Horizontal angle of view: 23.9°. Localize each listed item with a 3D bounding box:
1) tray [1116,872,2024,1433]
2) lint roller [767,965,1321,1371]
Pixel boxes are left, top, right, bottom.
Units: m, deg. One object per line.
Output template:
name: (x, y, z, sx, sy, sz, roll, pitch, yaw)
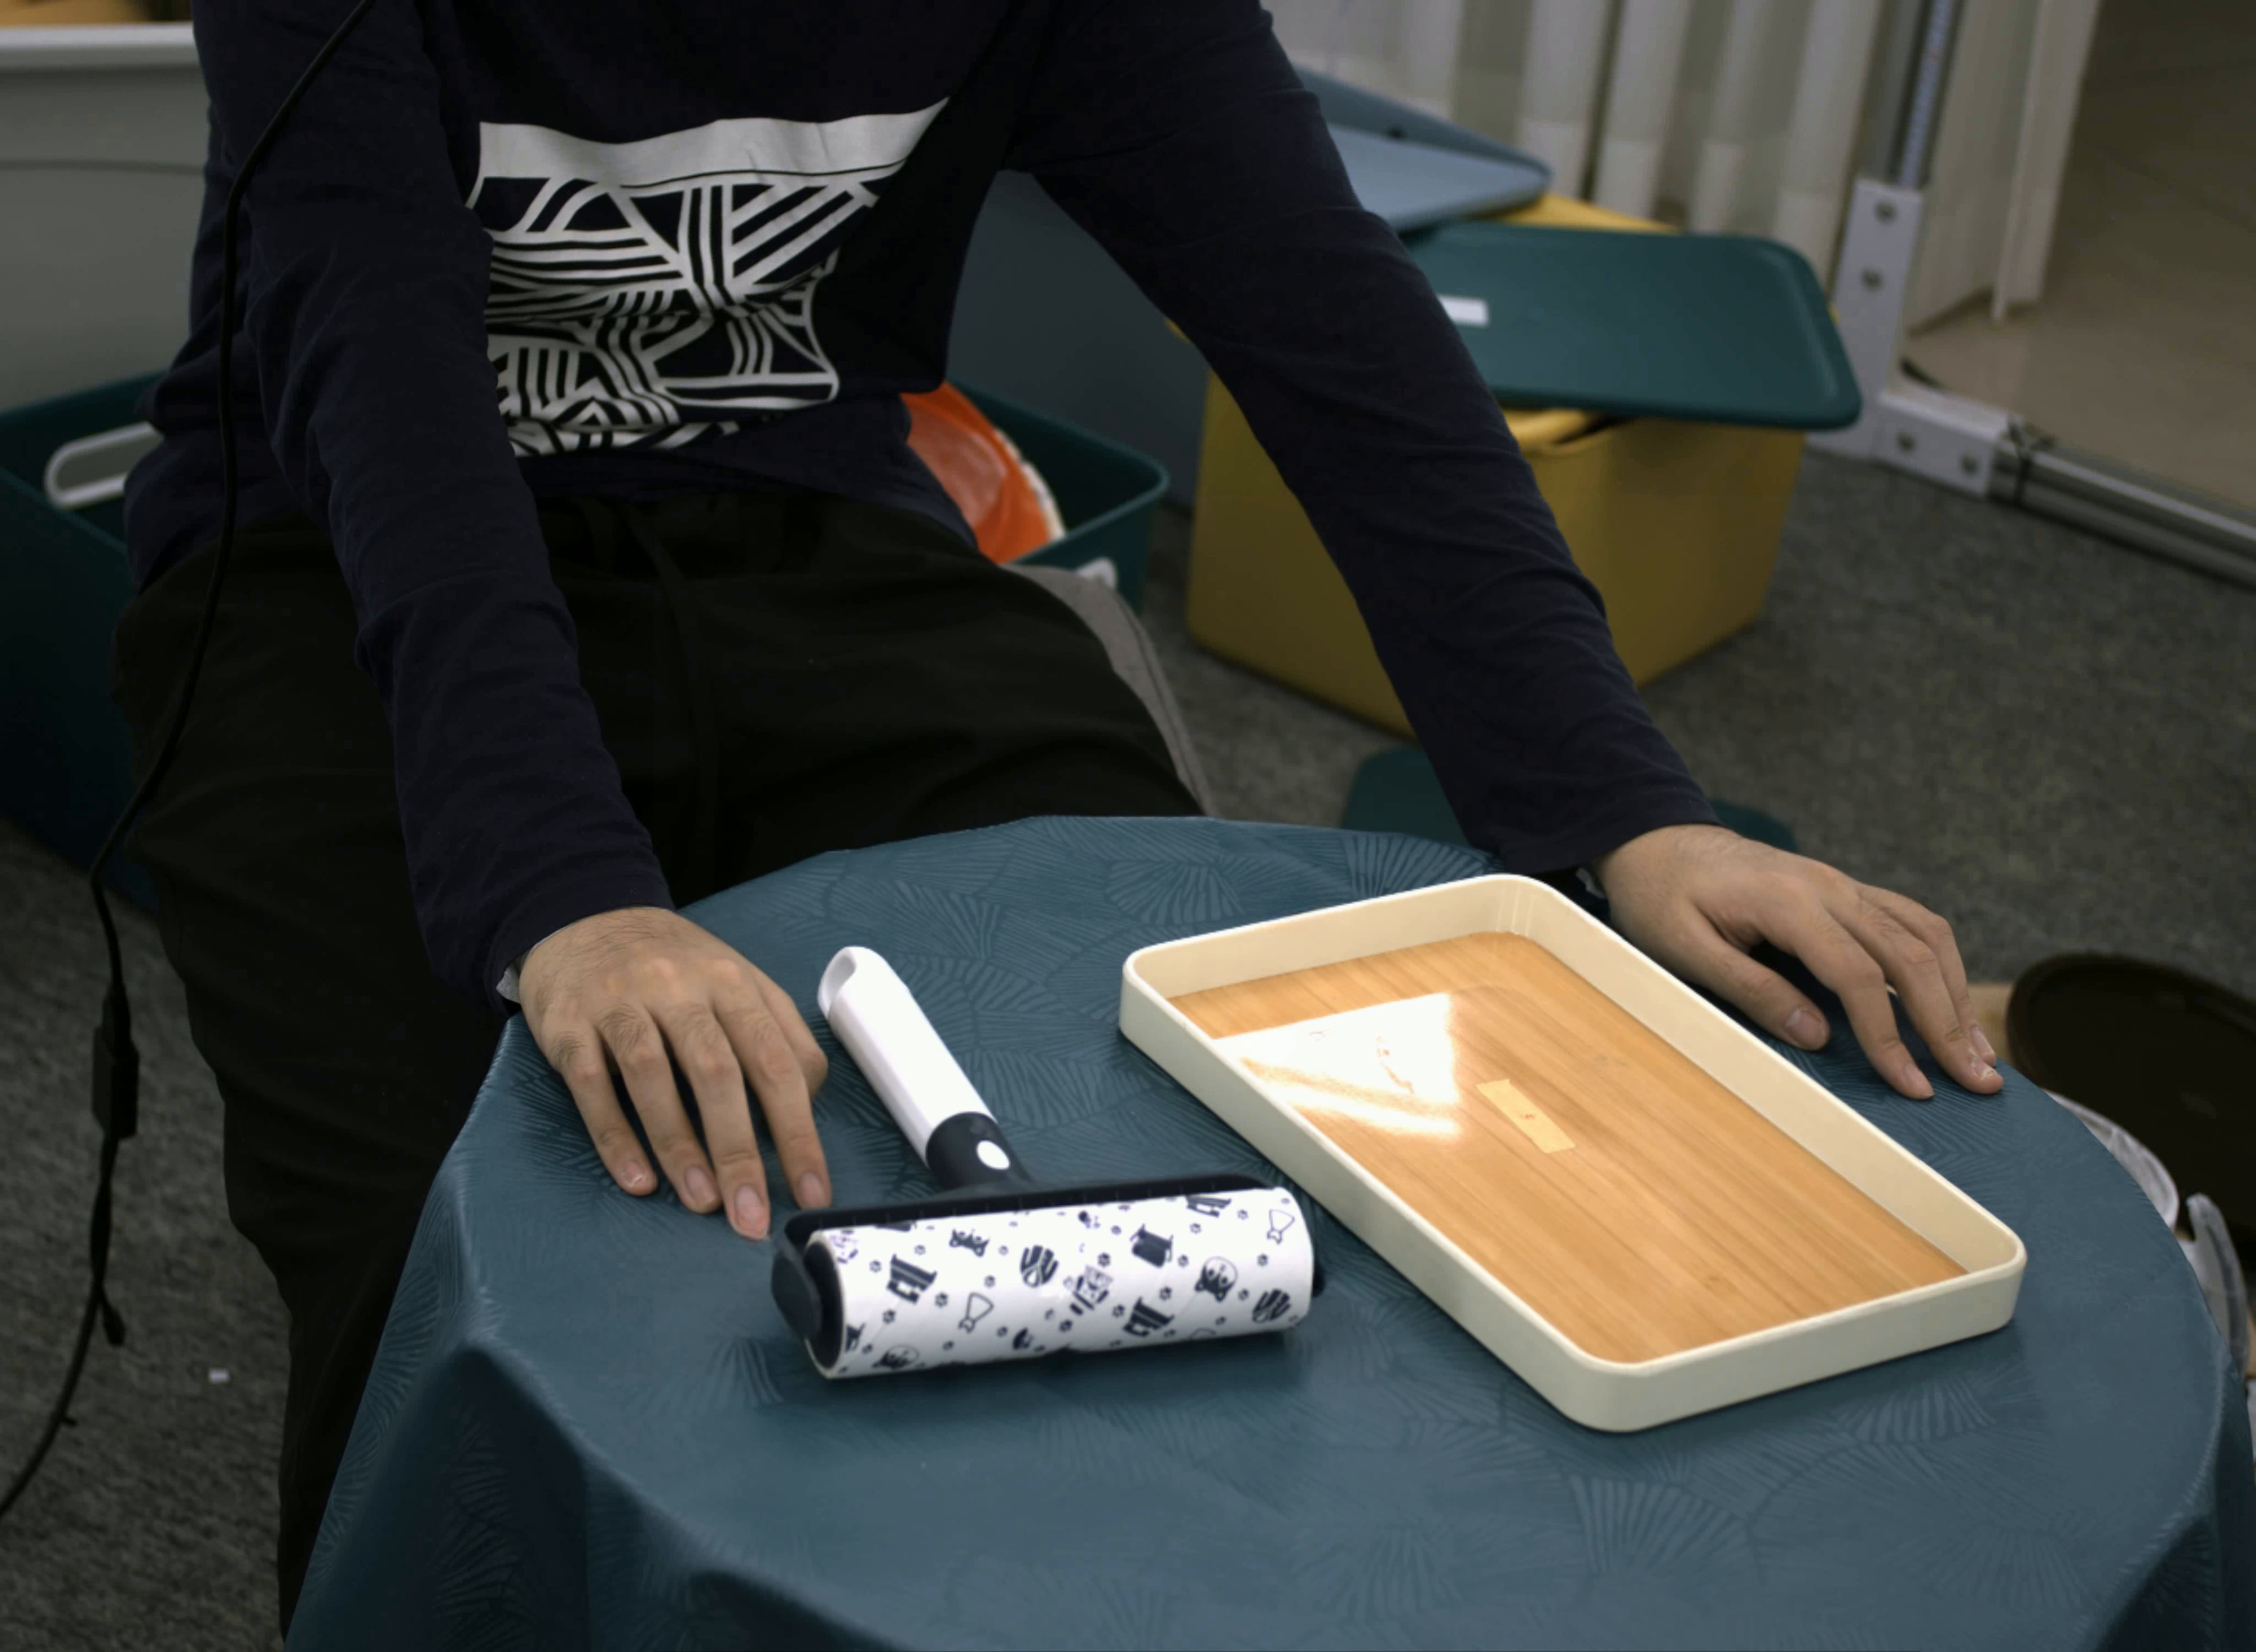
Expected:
tray: (0.147, 0.106, 1.843, 0.190, 0.027, 0.303, -11, 31, -31)
lint roller: (-0.061, 0.101, 1.789, 0.175, 0.050, 0.249, -5, 27, -21)
